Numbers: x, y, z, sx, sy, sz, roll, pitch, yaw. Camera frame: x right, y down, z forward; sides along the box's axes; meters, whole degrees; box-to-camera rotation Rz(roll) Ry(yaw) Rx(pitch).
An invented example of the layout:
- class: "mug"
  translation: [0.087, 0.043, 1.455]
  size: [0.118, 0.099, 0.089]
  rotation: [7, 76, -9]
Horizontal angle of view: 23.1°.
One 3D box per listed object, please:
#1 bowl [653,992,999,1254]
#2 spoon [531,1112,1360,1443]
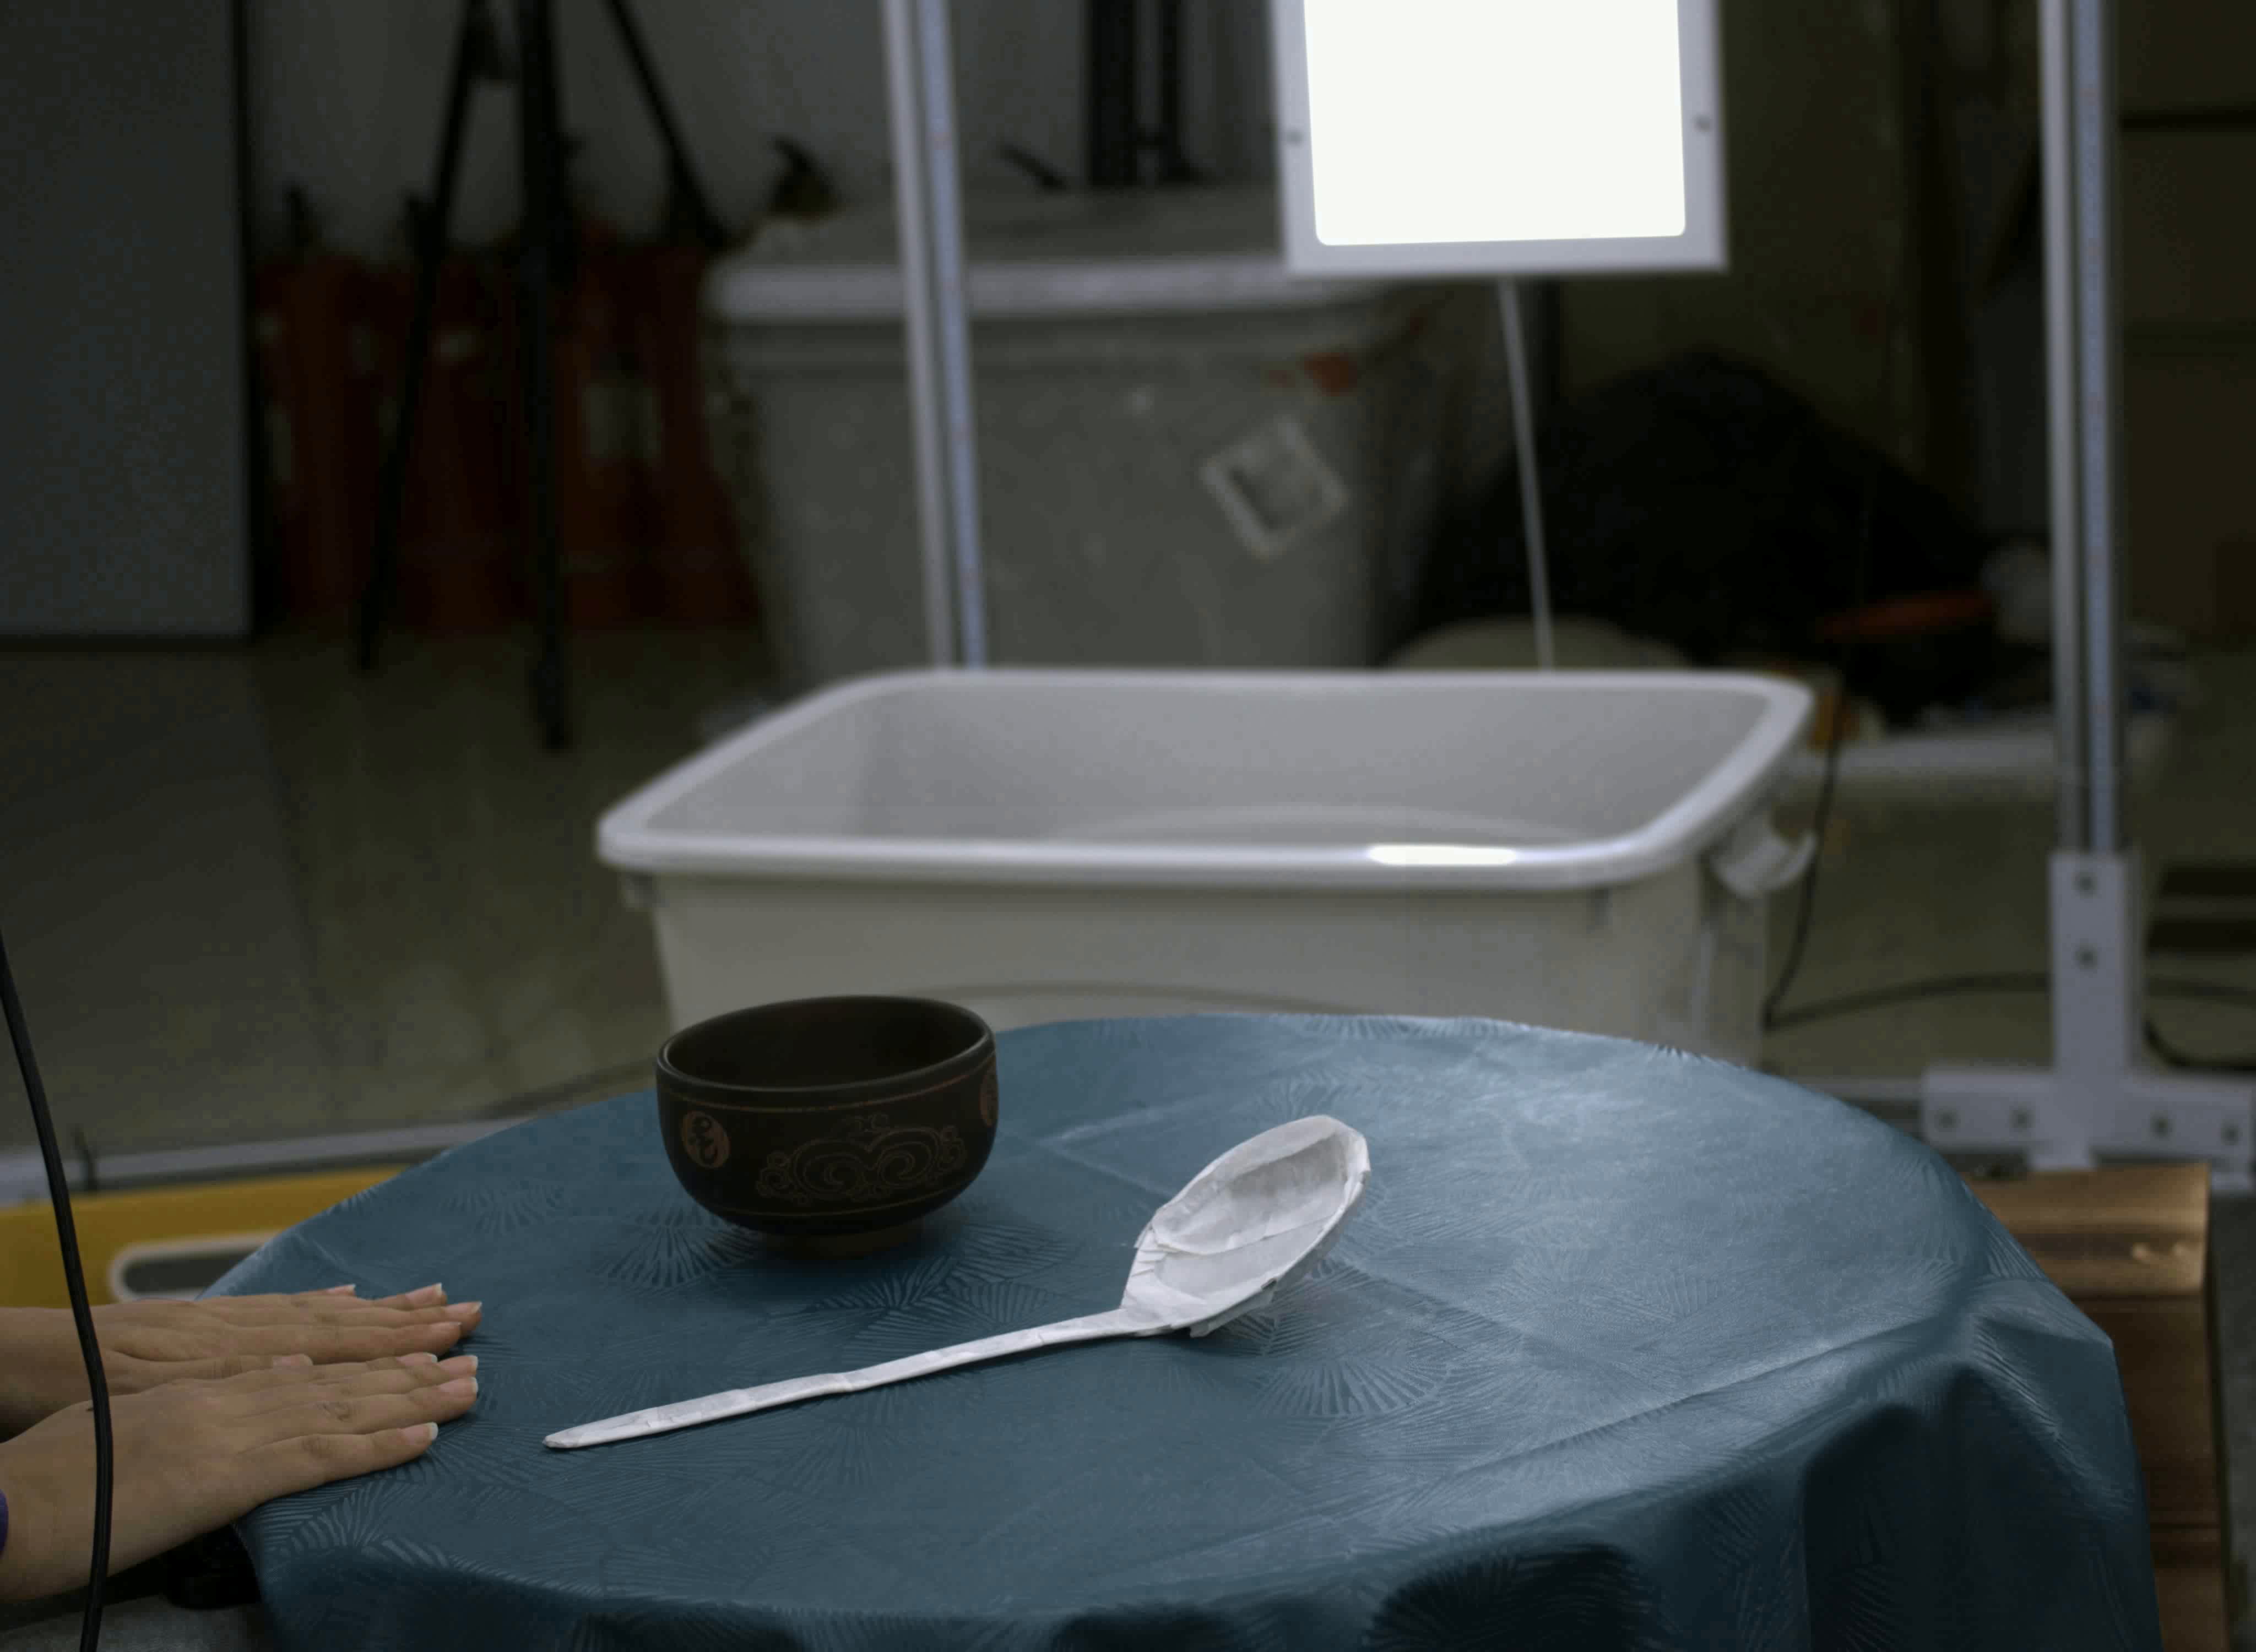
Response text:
- class: "bowl"
  translation: [-0.101, 0.104, 1.873]
  size: [0.118, 0.070, 0.118]
  rotation: [-5, 13, 0]
- class: "spoon"
  translation: [-0.057, 0.141, 1.740]
  size: [0.273, 0.059, 0.102]
  rotation: [-9, 11, -15]
